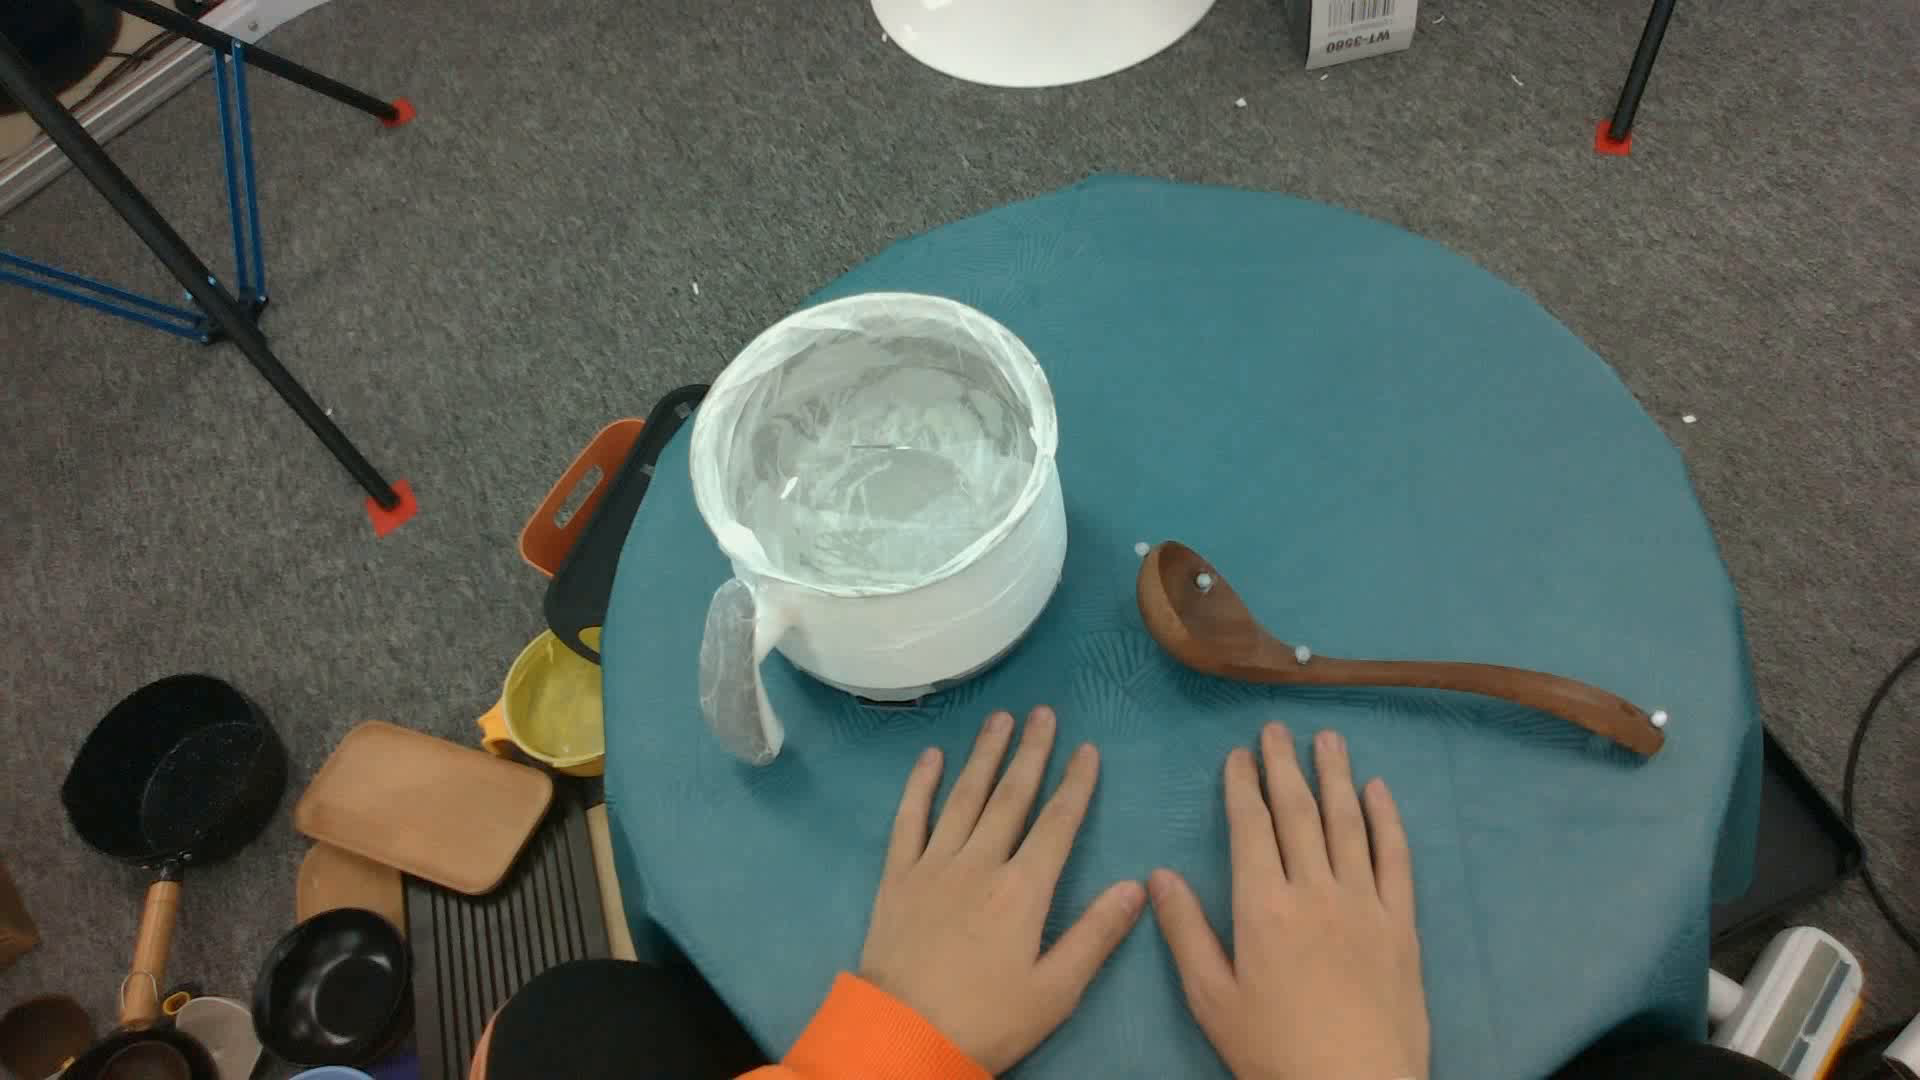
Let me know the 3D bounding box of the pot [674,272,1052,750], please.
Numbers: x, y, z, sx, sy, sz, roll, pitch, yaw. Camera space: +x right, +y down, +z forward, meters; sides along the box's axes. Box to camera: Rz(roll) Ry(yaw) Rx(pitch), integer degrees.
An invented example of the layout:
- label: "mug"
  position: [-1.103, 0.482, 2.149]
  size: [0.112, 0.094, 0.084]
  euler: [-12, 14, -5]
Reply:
- label: "pot"
  position: [-0.058, -0.006, 0.696]
  size: [0.178, 0.136, 0.234]
  euler: [27, 66, 21]

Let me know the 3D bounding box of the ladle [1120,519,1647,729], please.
- label: "ladle"
  position: [0.207, 0.042, 0.681]
  size: [0.260, 0.065, 0.077]
  euler: [9, 35, 13]
